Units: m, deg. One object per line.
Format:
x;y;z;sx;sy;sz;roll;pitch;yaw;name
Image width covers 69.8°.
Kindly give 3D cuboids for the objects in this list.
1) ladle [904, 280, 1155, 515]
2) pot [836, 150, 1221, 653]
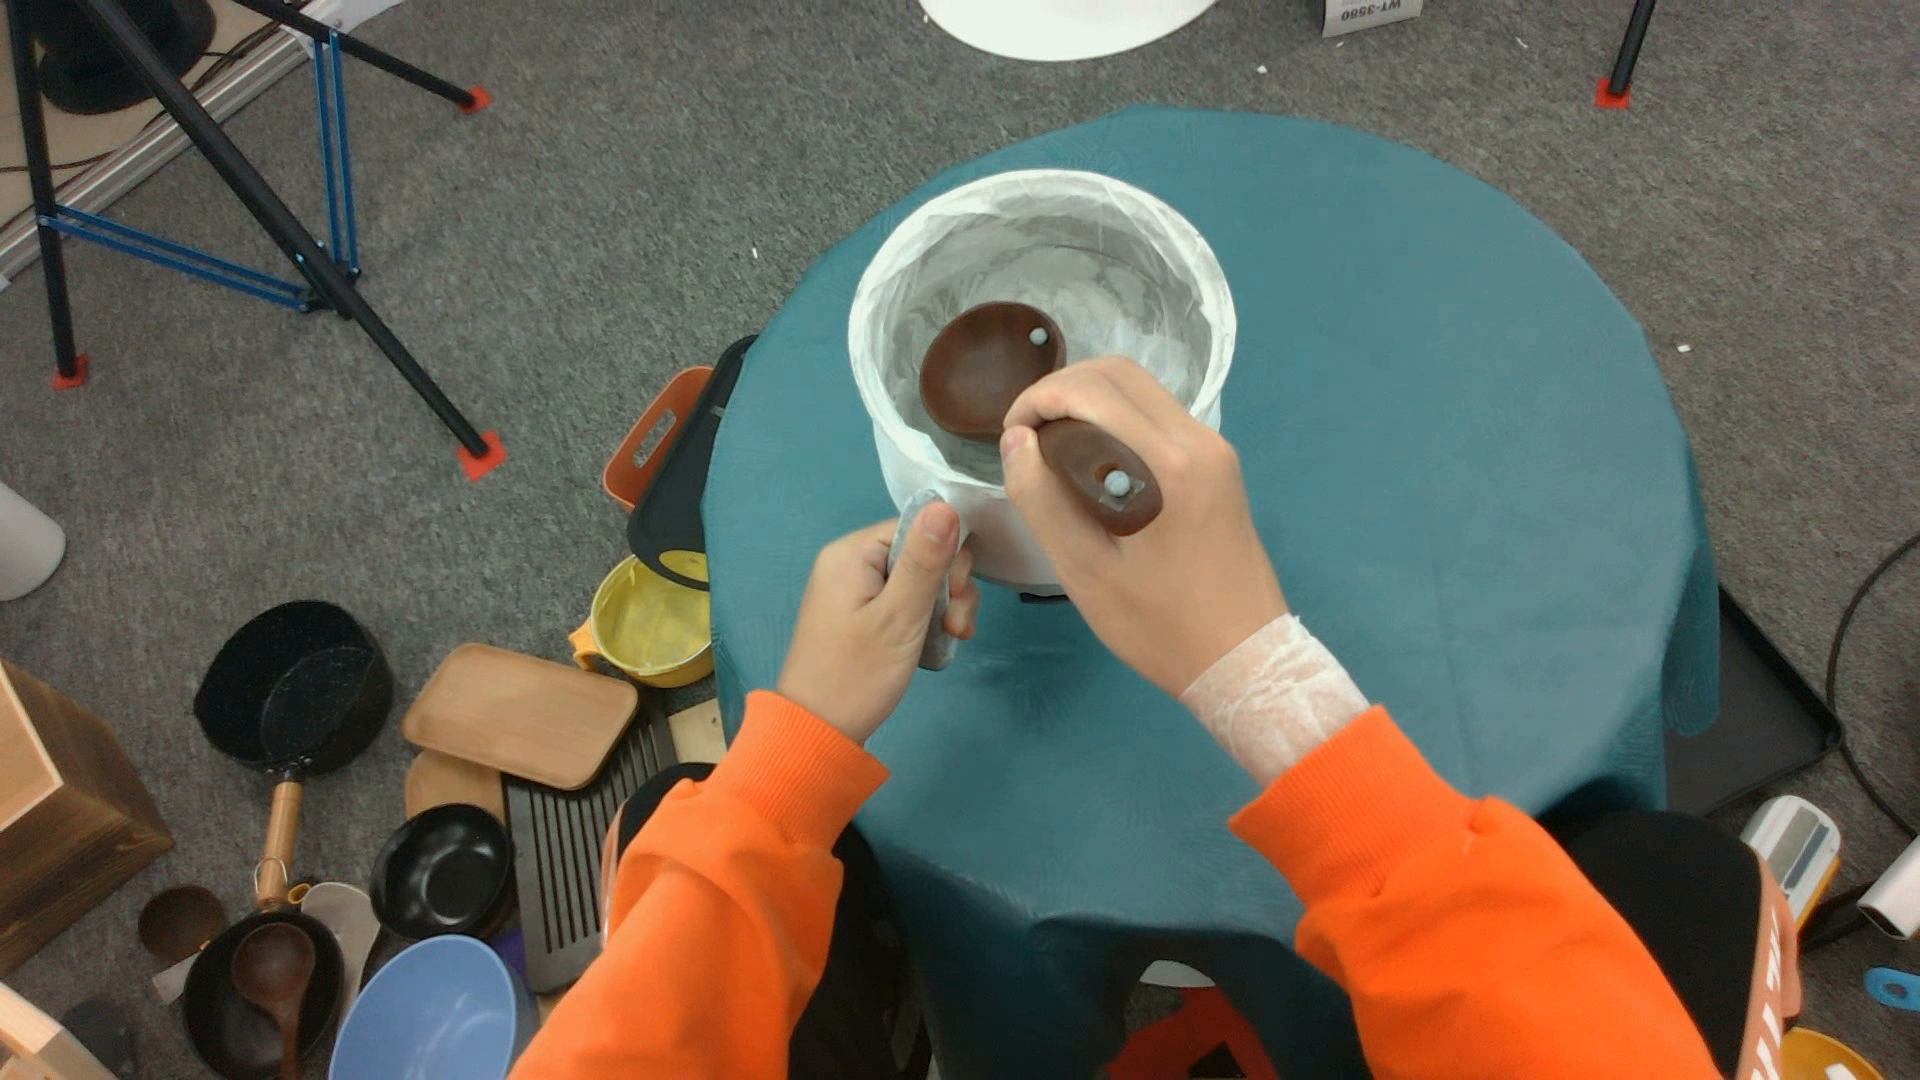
0.023;-0.065;0.570;0.076;0.065;0.260;-40;15;3;ladle
0.023;-0.059;0.677;0.178;0.136;0.234;24;70;15;pot
